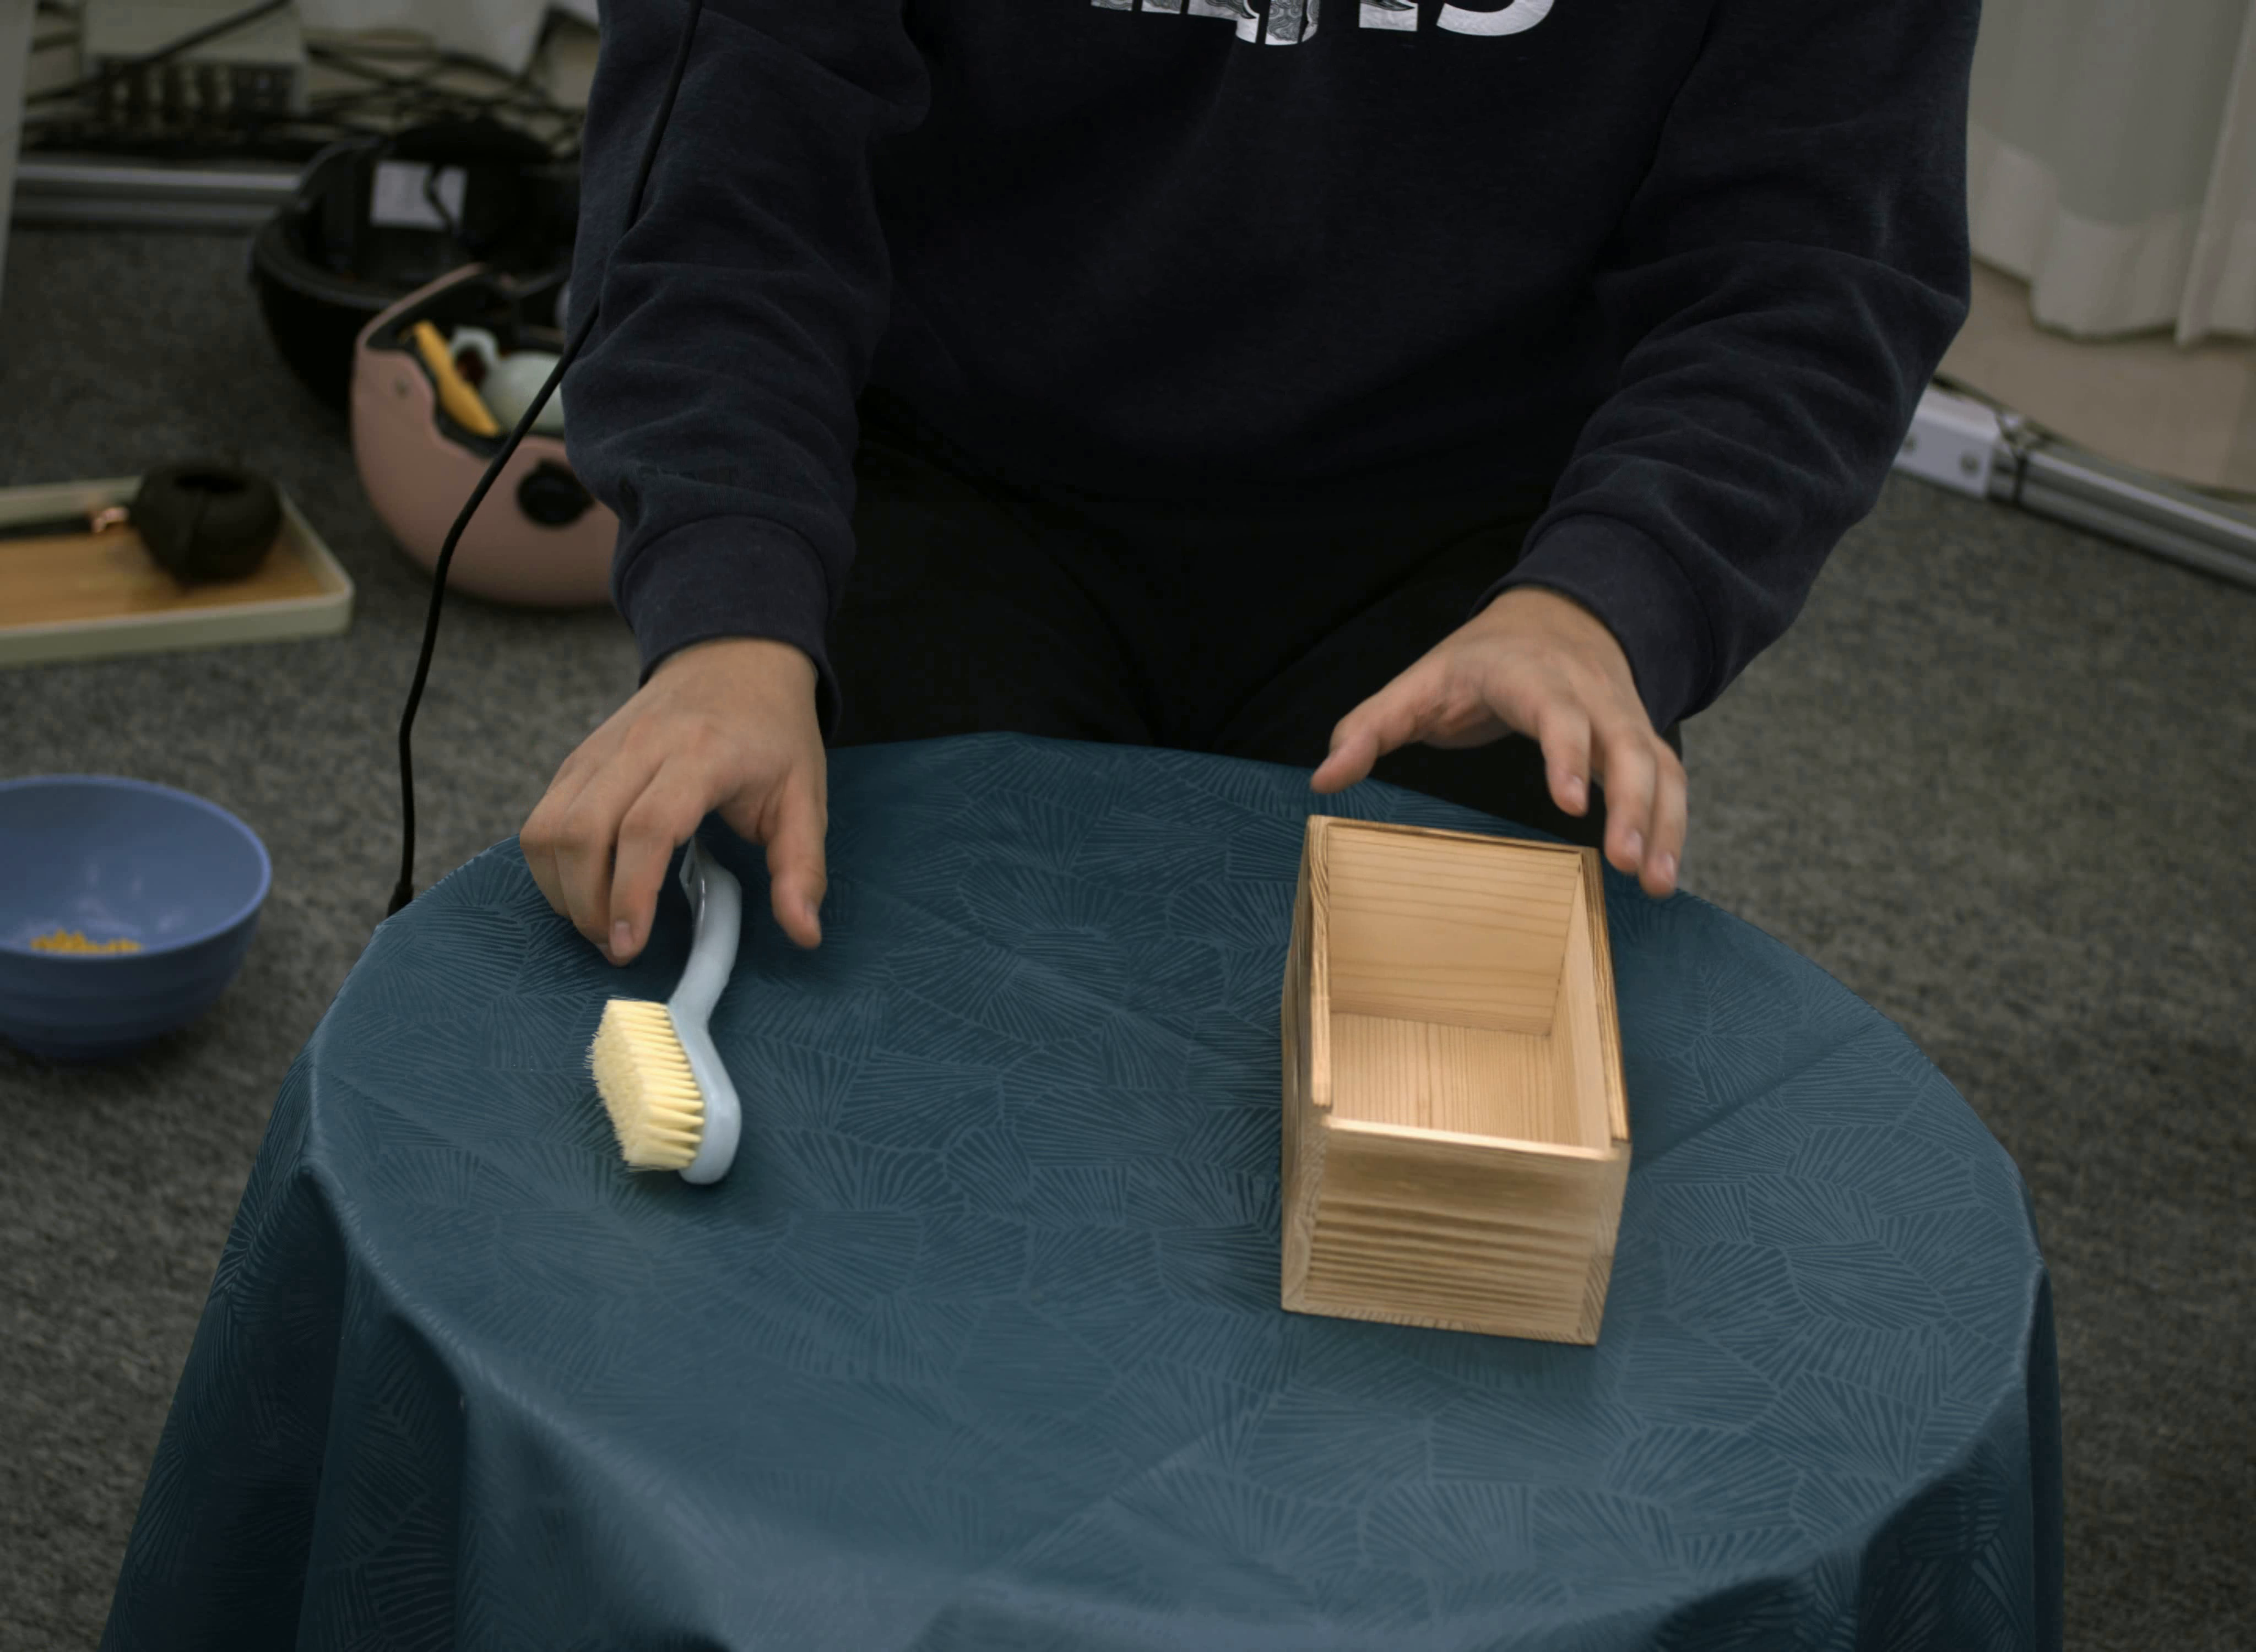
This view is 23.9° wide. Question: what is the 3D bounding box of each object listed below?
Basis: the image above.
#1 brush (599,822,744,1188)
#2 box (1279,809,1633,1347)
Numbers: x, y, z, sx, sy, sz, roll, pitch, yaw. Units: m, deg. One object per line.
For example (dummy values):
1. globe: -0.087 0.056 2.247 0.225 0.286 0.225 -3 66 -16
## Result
1. brush: -0.159 0.056 1.860 0.049 0.037 0.230 11 26 -9
2. box: 0.109 0.083 1.824 0.107 0.080 0.212 6 27 -2
